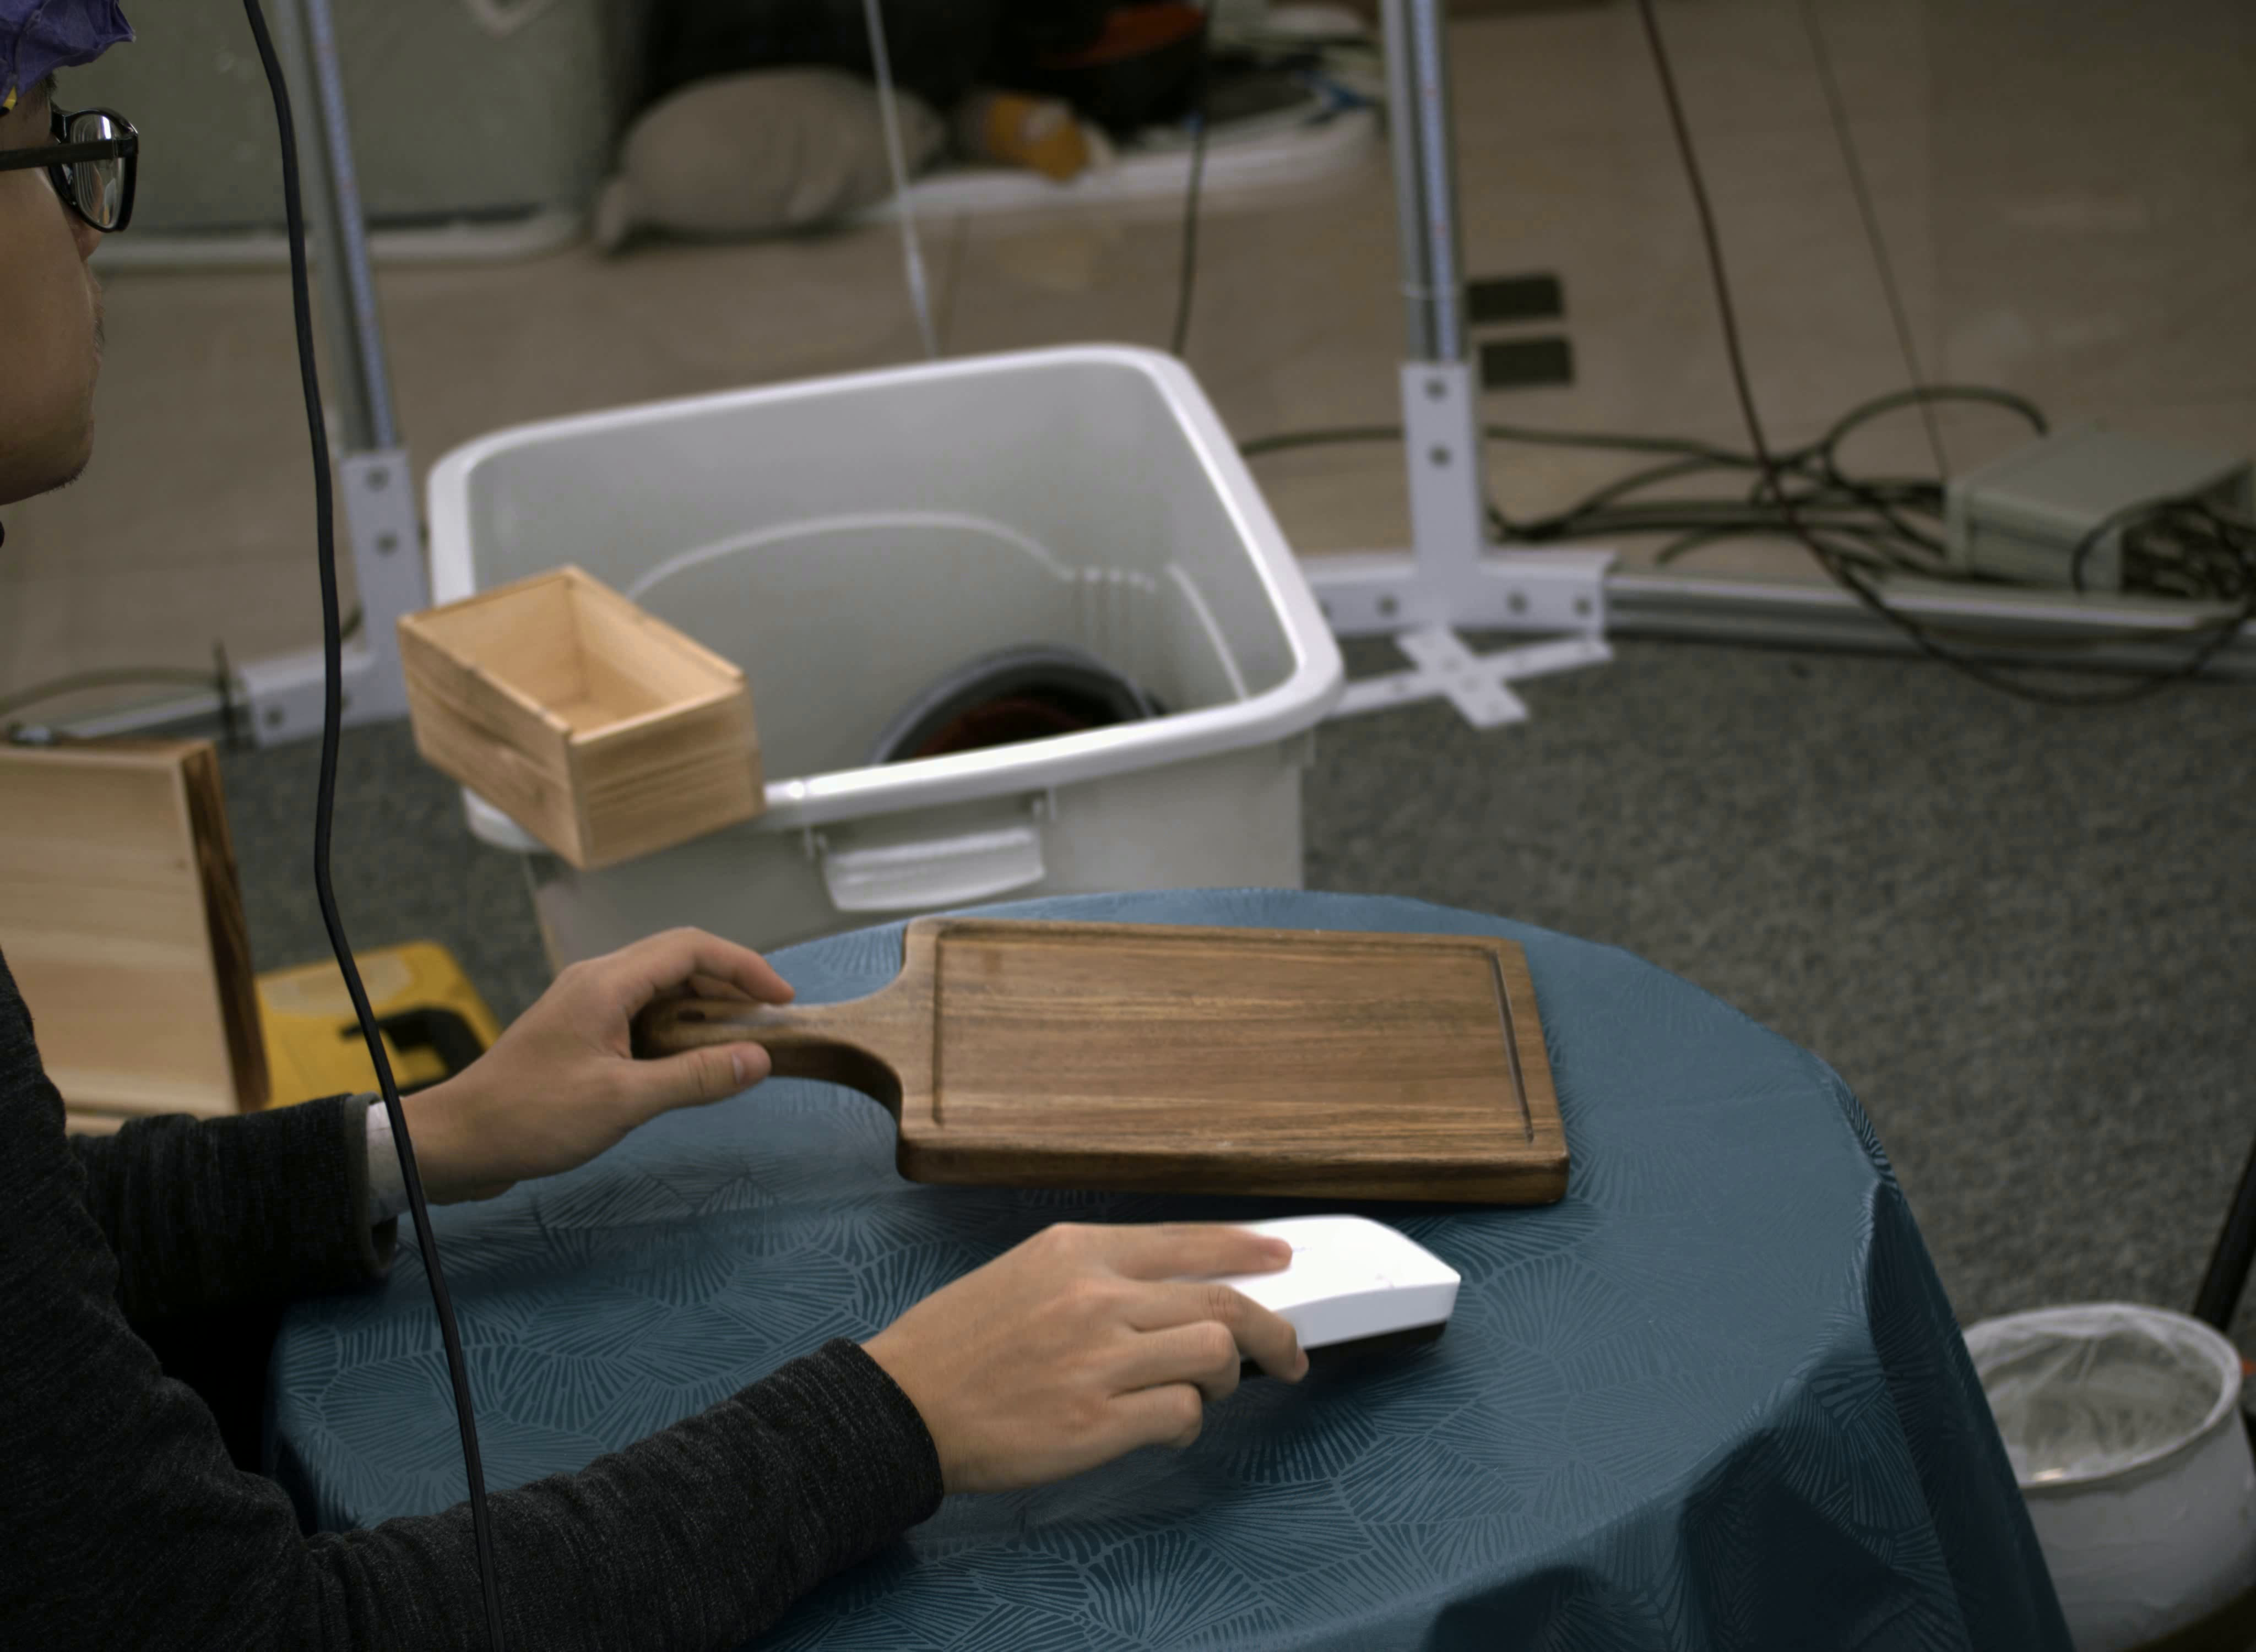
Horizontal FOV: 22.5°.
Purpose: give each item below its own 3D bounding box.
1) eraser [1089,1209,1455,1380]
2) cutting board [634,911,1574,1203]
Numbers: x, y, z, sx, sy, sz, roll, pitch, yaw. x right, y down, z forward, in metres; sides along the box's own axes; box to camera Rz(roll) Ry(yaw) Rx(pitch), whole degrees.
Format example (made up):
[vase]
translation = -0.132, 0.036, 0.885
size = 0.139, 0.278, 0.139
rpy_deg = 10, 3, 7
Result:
[eraser]
translation = 0.050, 0.161, 1.993
size = 0.131, 0.035, 0.062
rpy_deg = -6, 25, -34
[cutting board]
translation = -0.013, 0.085, 2.175
size = 0.351, 0.023, 0.198
rpy_deg = 2, 25, -4
